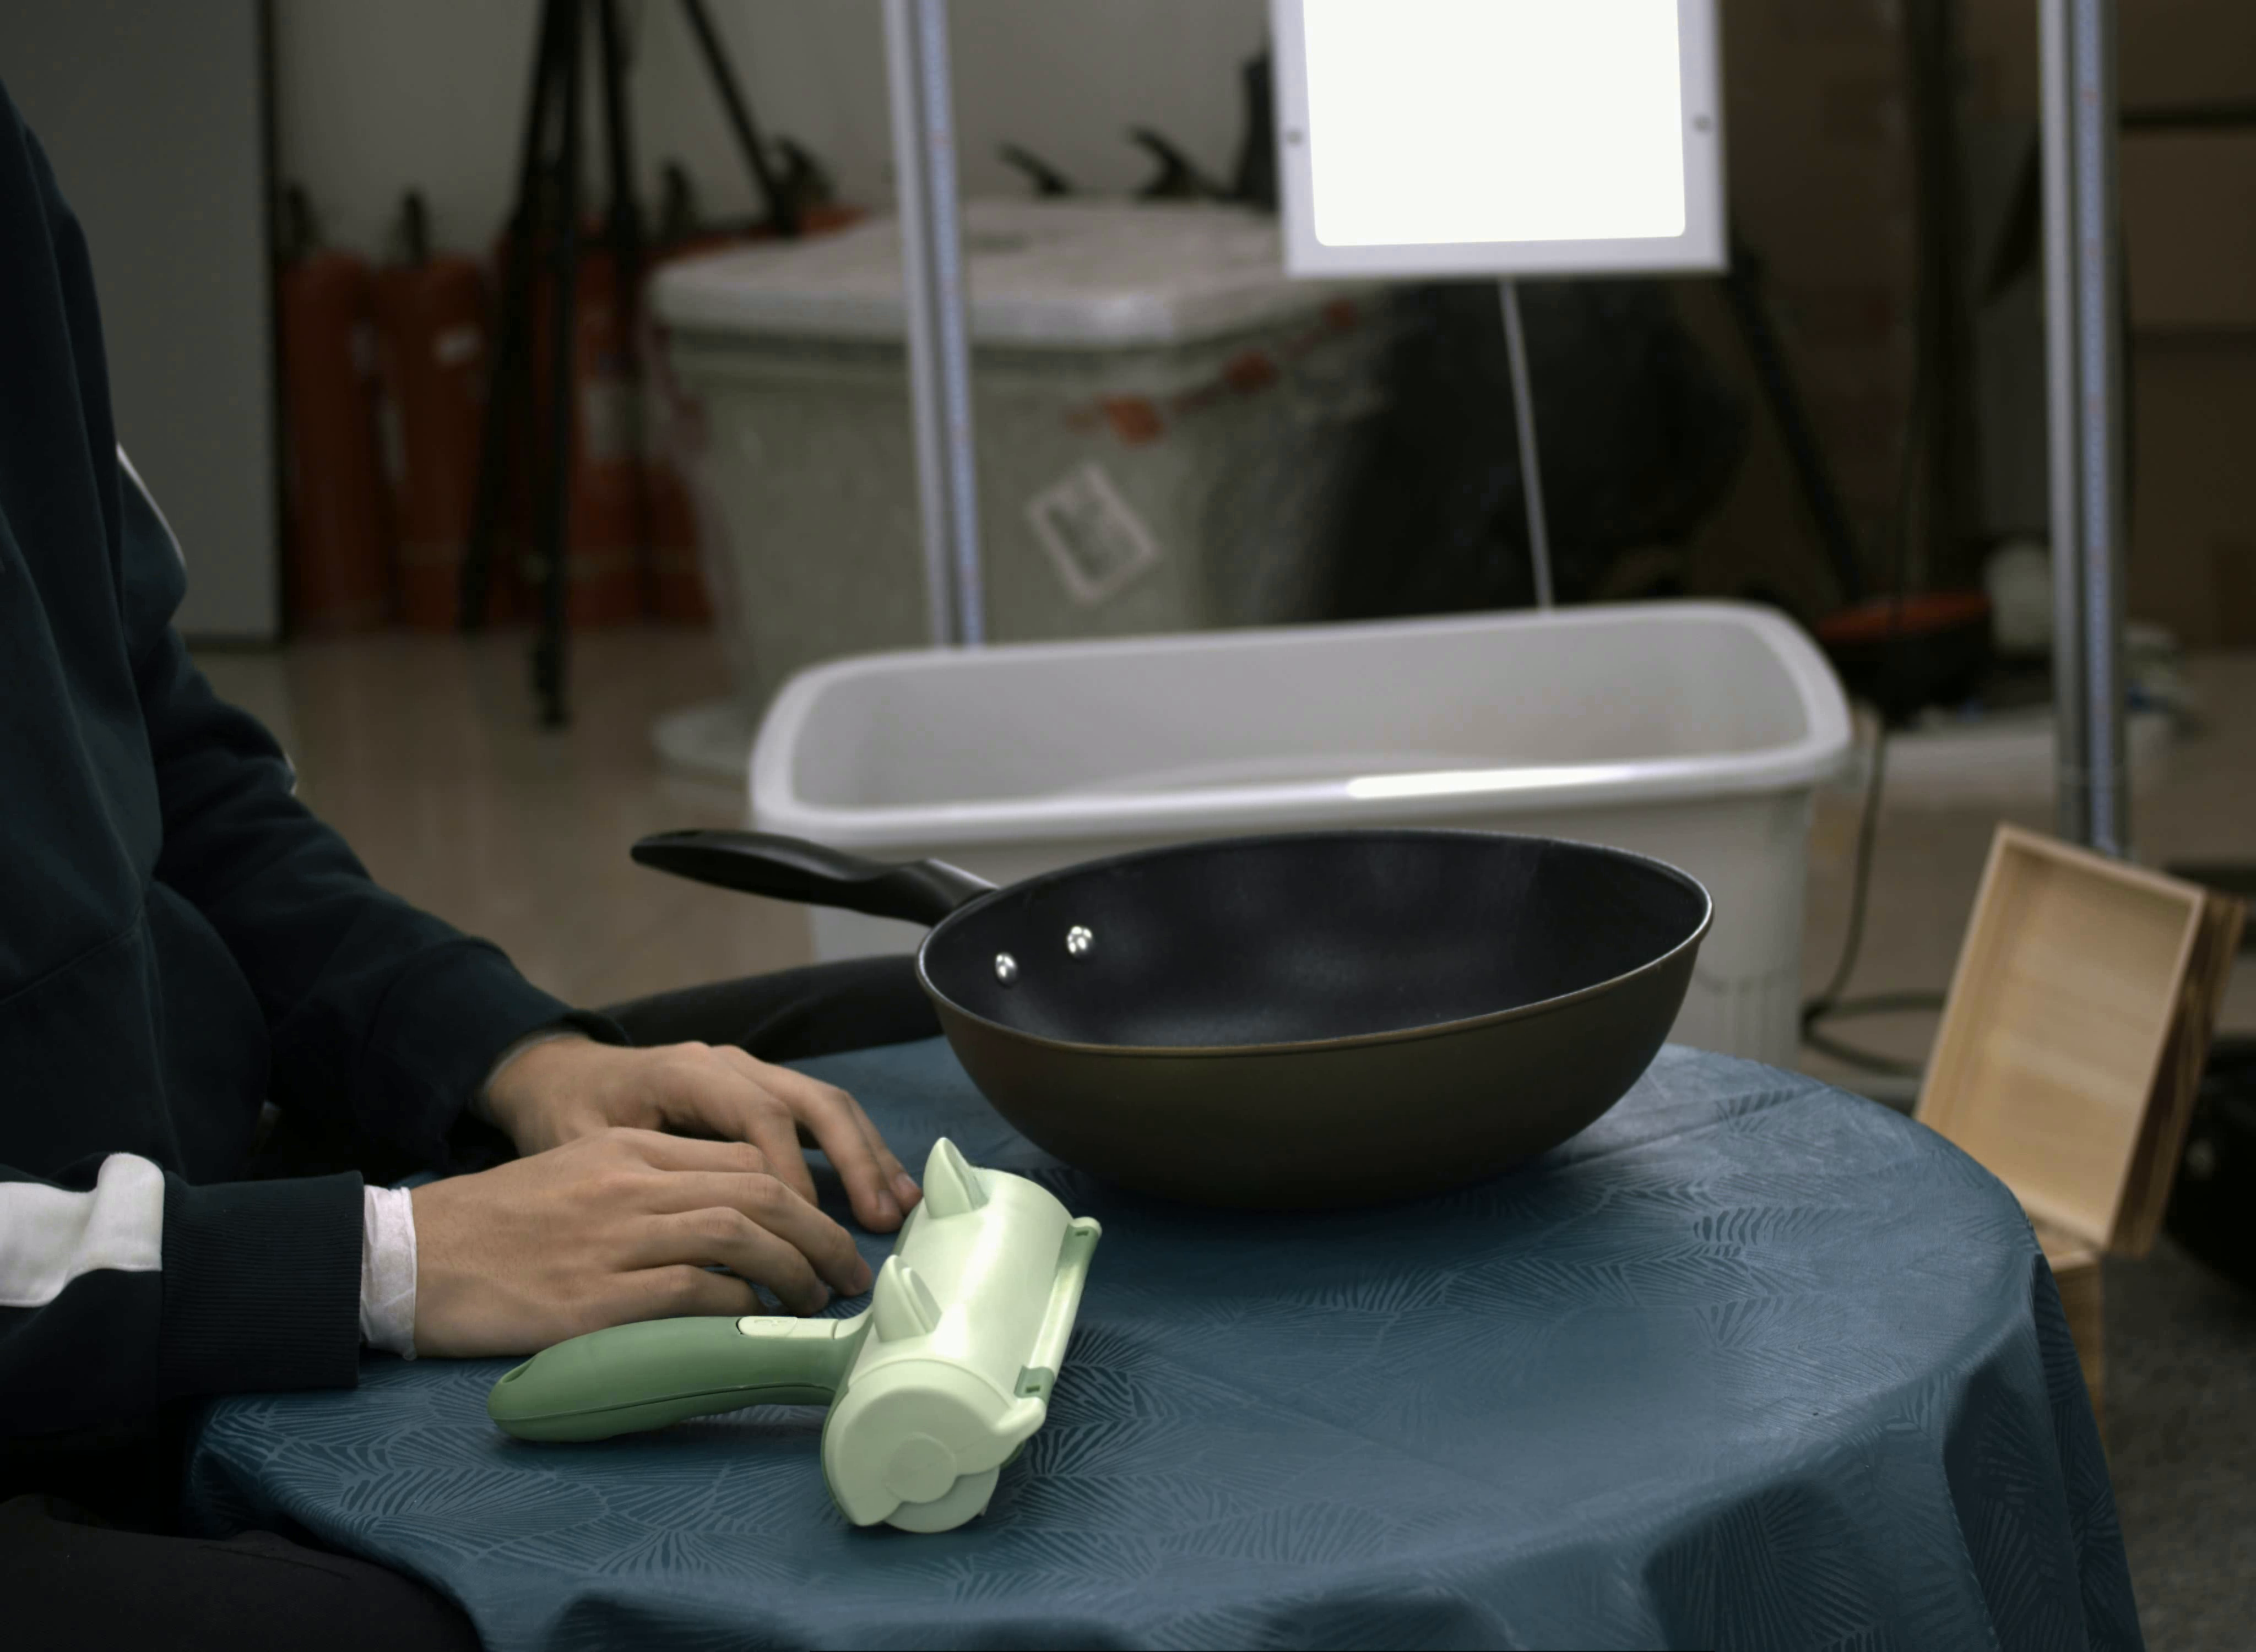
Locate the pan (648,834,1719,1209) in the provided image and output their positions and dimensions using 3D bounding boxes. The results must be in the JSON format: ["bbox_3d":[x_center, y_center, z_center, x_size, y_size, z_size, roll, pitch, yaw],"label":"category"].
[{"bbox_3d":[-0.003,0.065,1.973,0.473,0.087,0.281,6,17,40],"label":"pan"}]

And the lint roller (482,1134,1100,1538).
[{"bbox_3d":[-0.108,0.149,1.684,0.184,0.082,0.197,2,15,7],"label":"lint roller"}]
